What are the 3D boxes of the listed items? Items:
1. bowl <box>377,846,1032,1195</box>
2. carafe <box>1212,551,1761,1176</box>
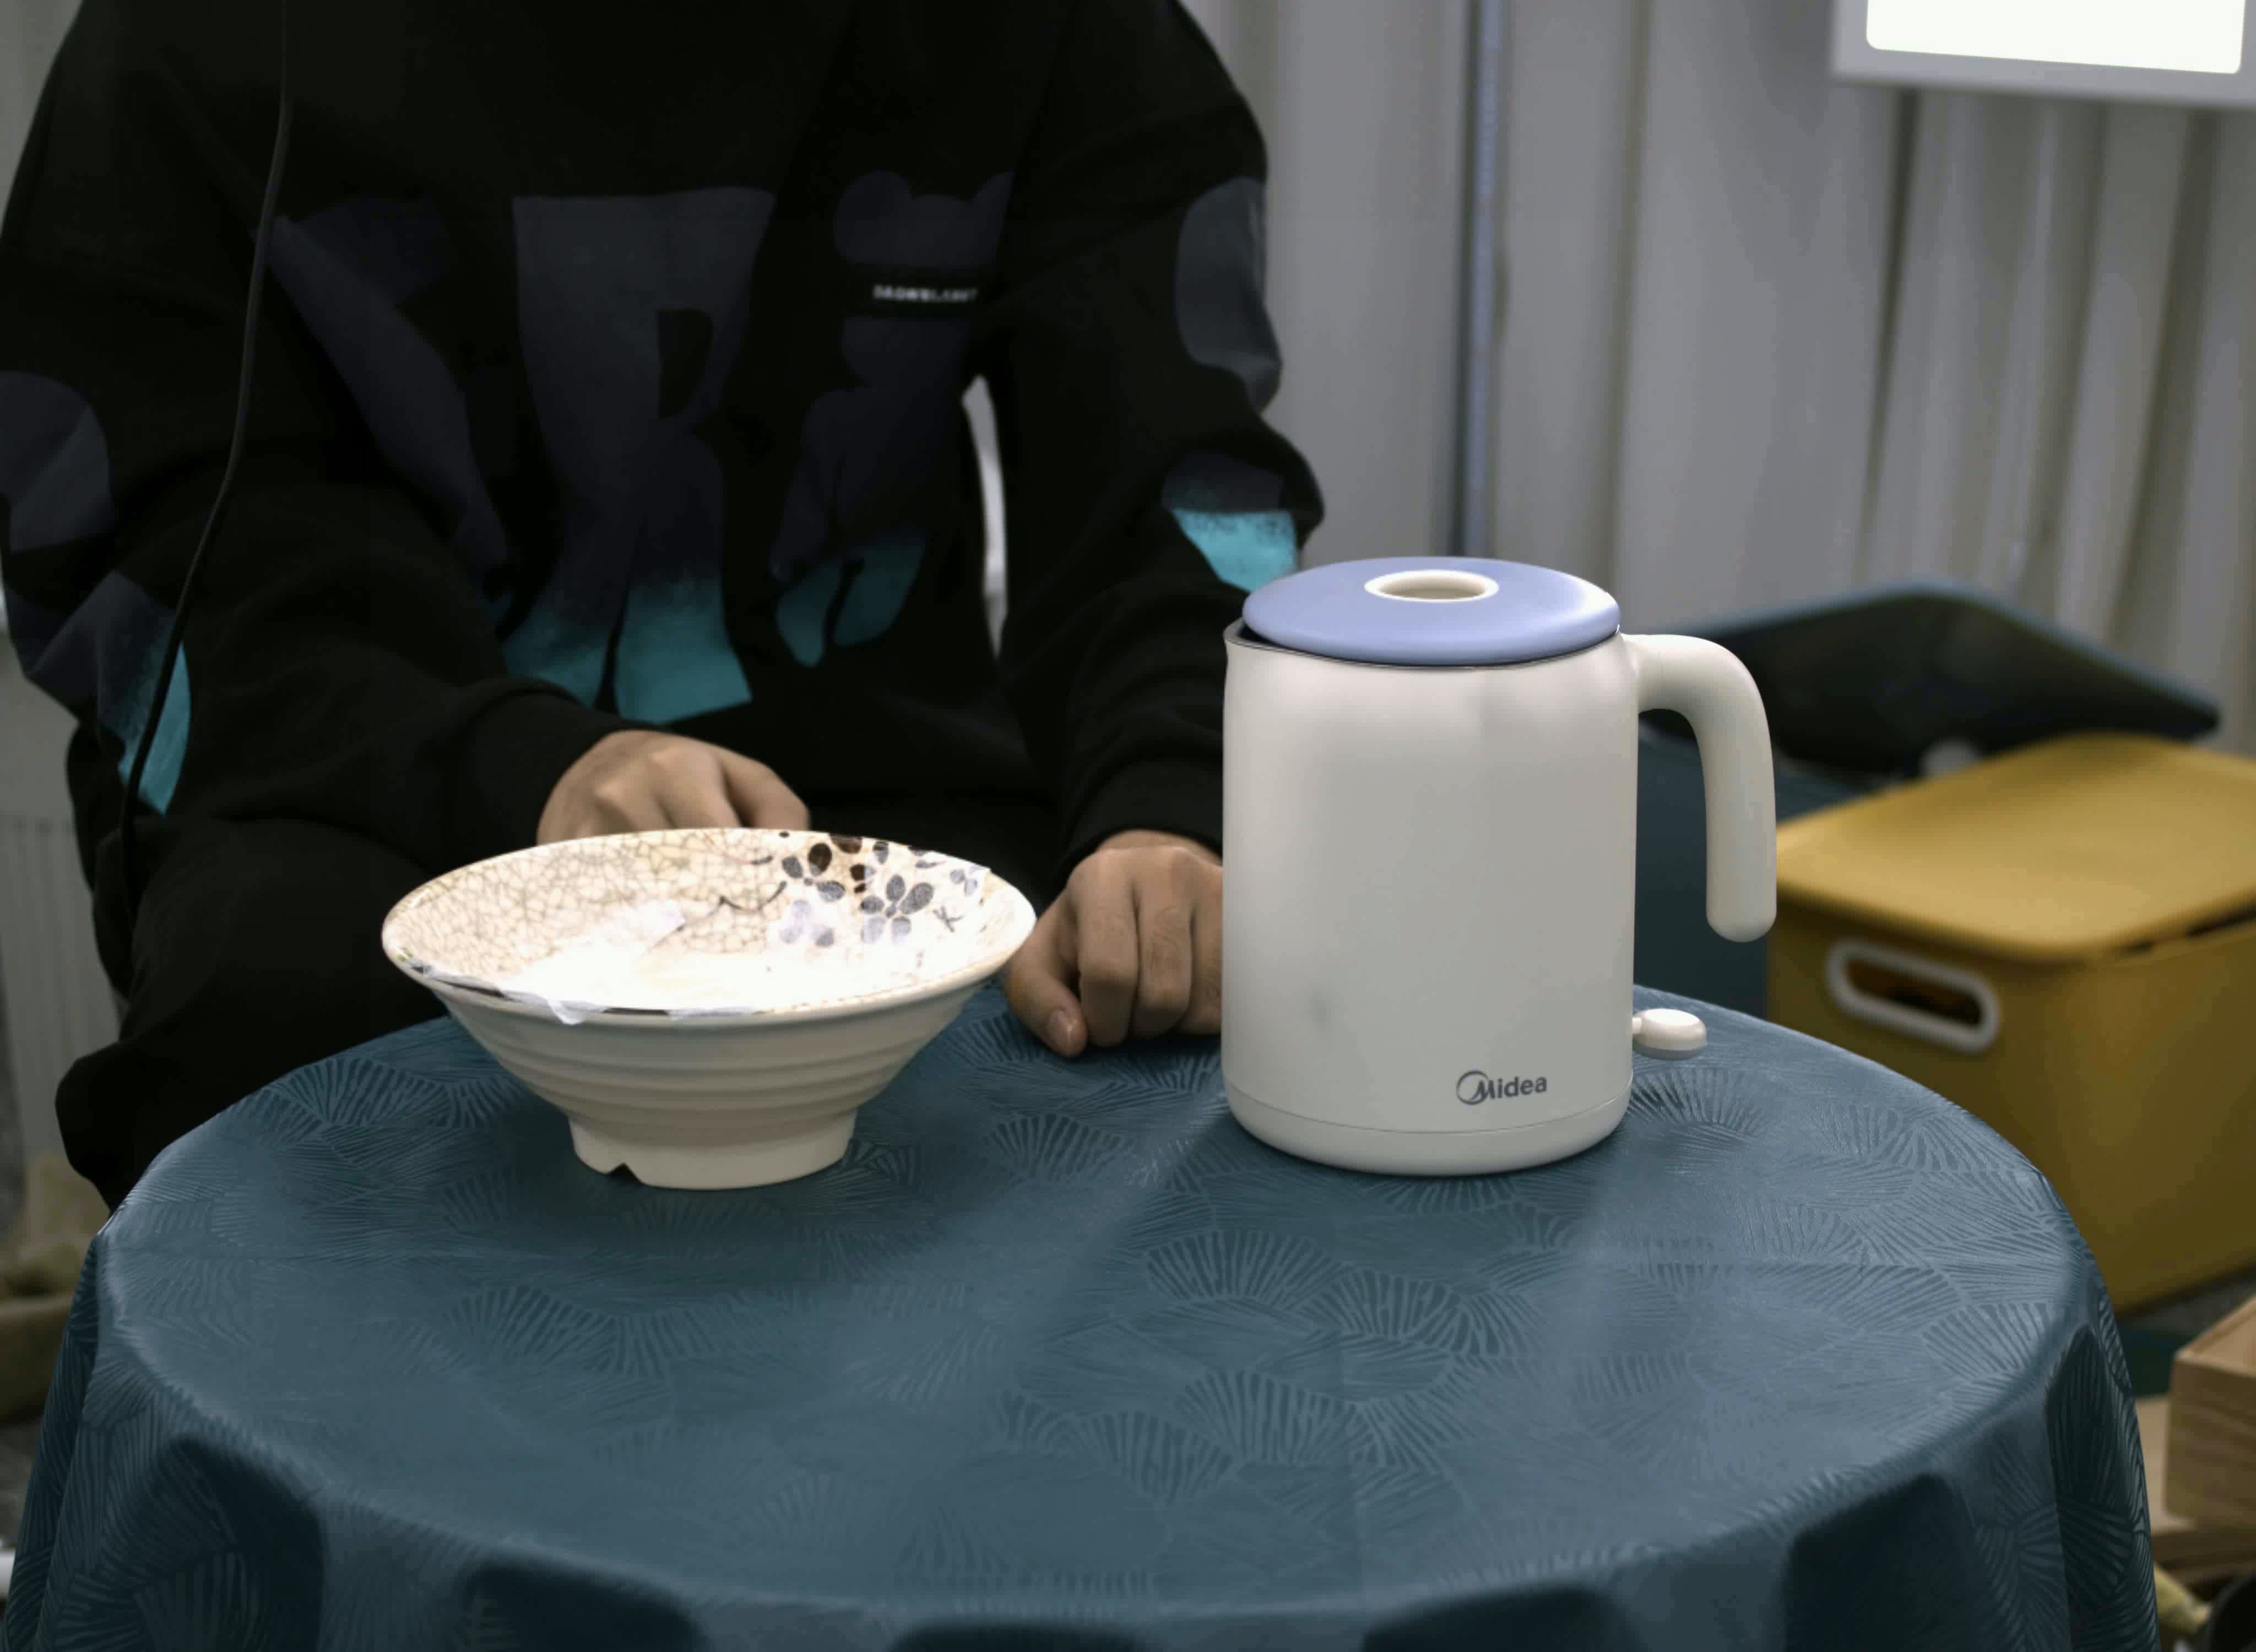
[{"bbox_3d":[-0.131,0.066,1.643,0.203,0.078,0.203,1,13,0],"label":"bowl"},{"bbox_3d":[0.117,0.010,1.675,0.191,0.184,0.131,-3,17,-20],"label":"carafe"}]
